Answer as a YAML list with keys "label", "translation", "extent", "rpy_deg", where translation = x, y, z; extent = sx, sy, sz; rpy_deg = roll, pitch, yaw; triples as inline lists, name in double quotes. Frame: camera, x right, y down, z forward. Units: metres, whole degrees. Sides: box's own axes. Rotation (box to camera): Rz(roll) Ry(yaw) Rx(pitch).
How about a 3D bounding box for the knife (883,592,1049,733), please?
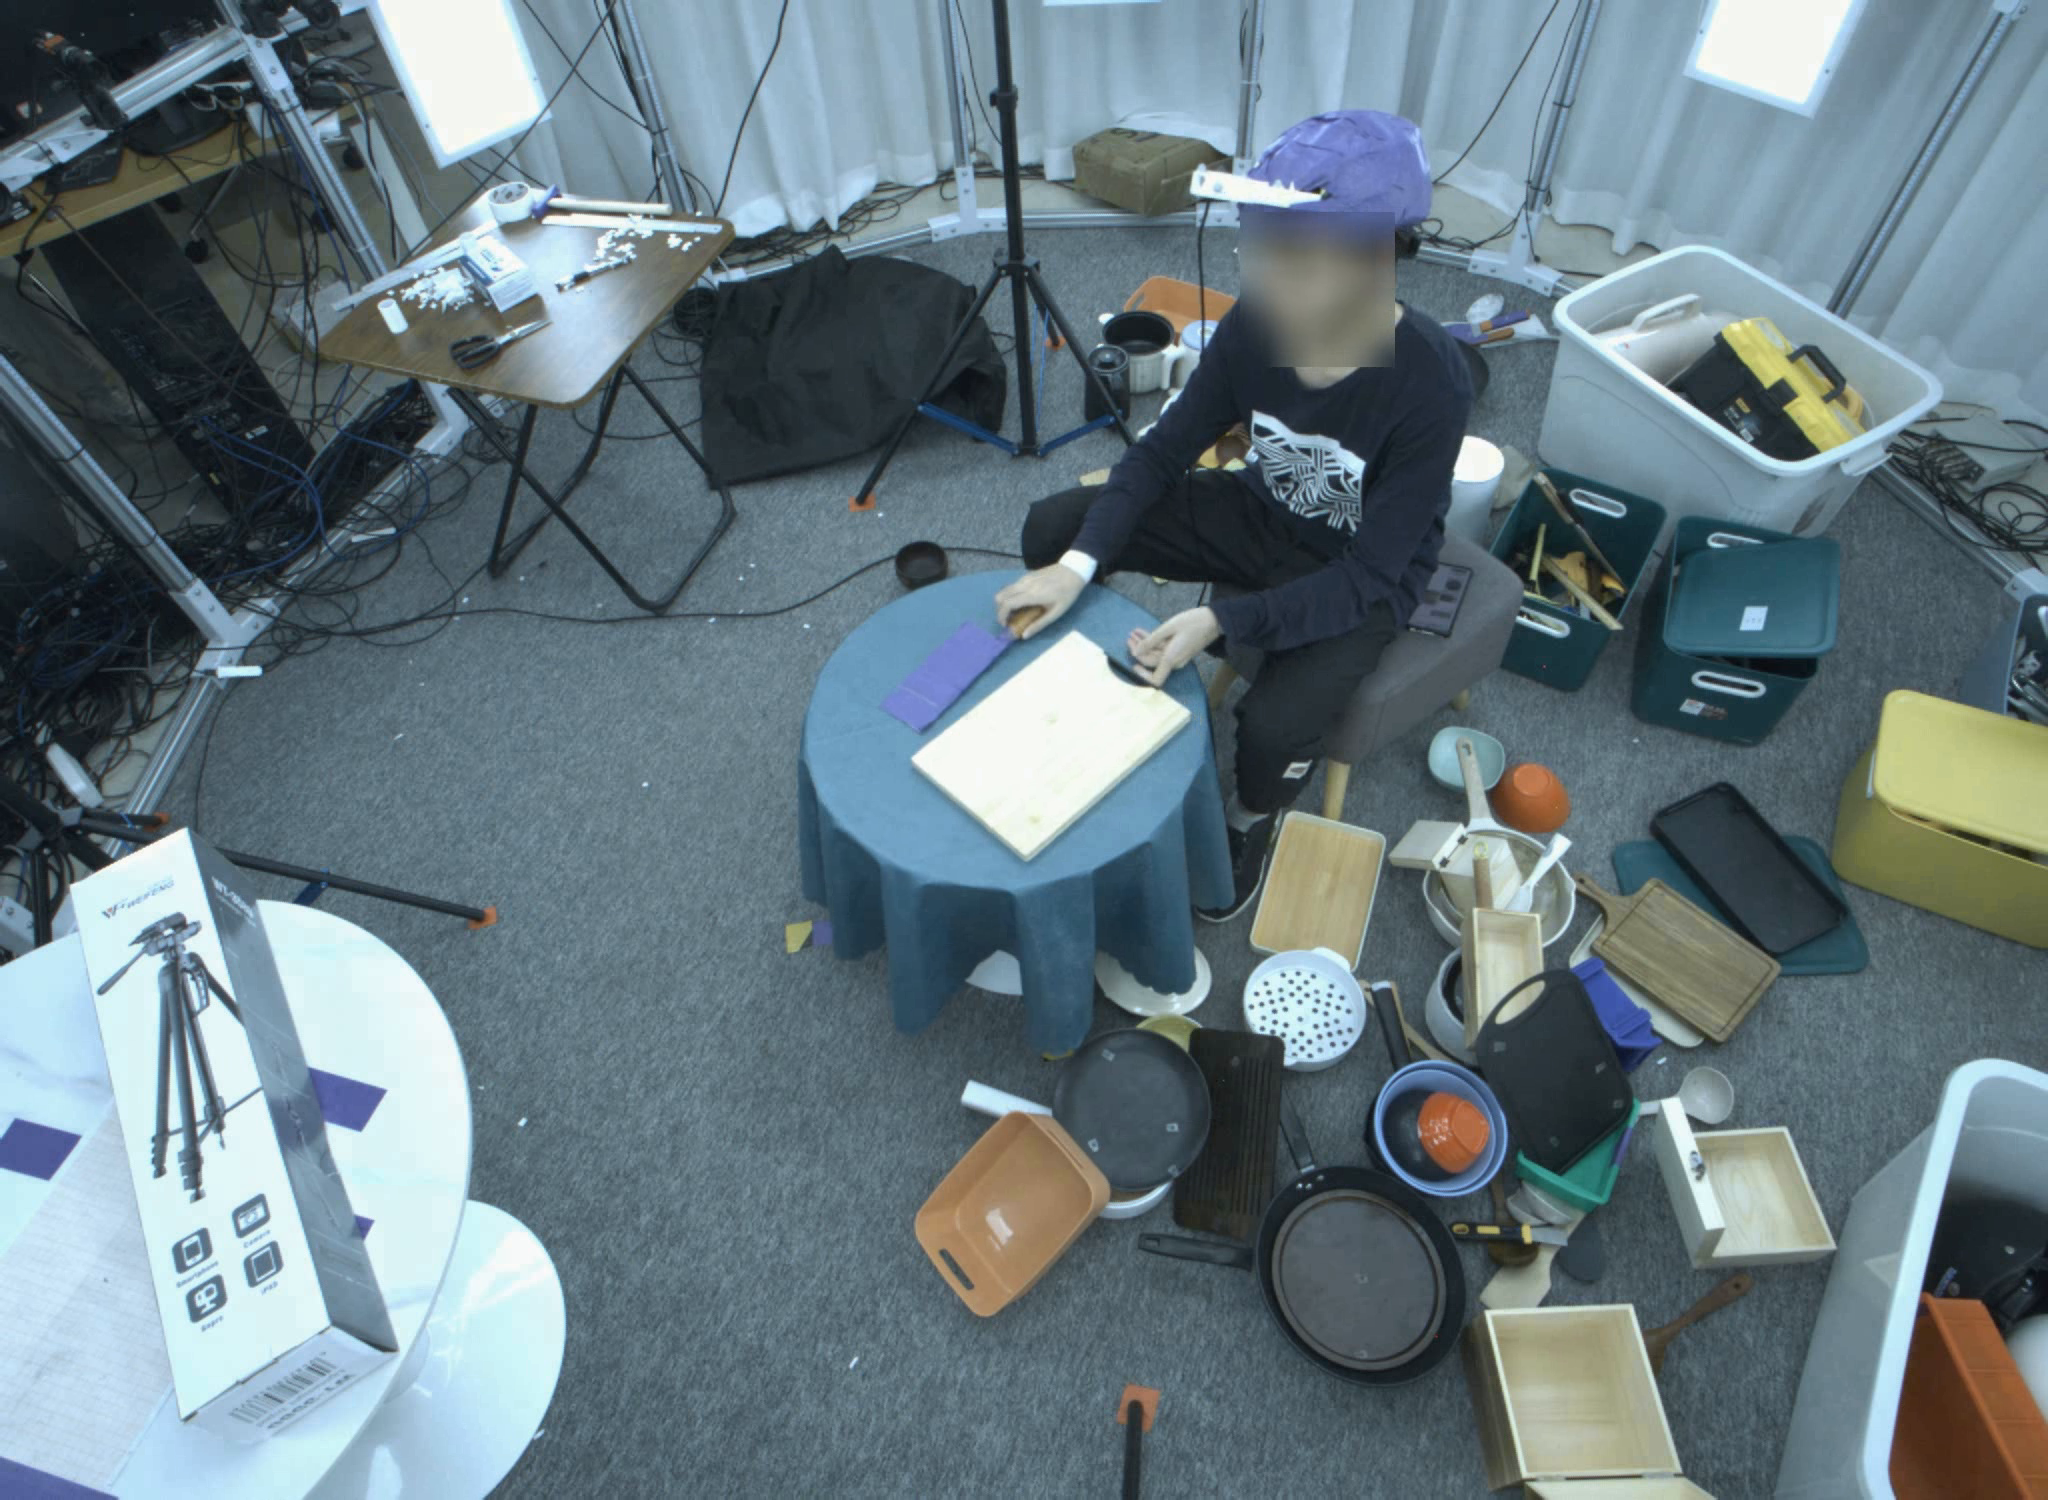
- label: "knife"
  translation: [-0.090, -0.152, 1.889]
  extent: [0.102, 0.032, 0.317]
  rpy_deg: [32, 61, 22]

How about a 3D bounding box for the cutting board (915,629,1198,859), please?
- label: "cutting board"
  translation: [0.047, -0.020, 1.798]
  extent: [0.246, 0.024, 0.351]
  rpy_deg: [39, 64, 25]
